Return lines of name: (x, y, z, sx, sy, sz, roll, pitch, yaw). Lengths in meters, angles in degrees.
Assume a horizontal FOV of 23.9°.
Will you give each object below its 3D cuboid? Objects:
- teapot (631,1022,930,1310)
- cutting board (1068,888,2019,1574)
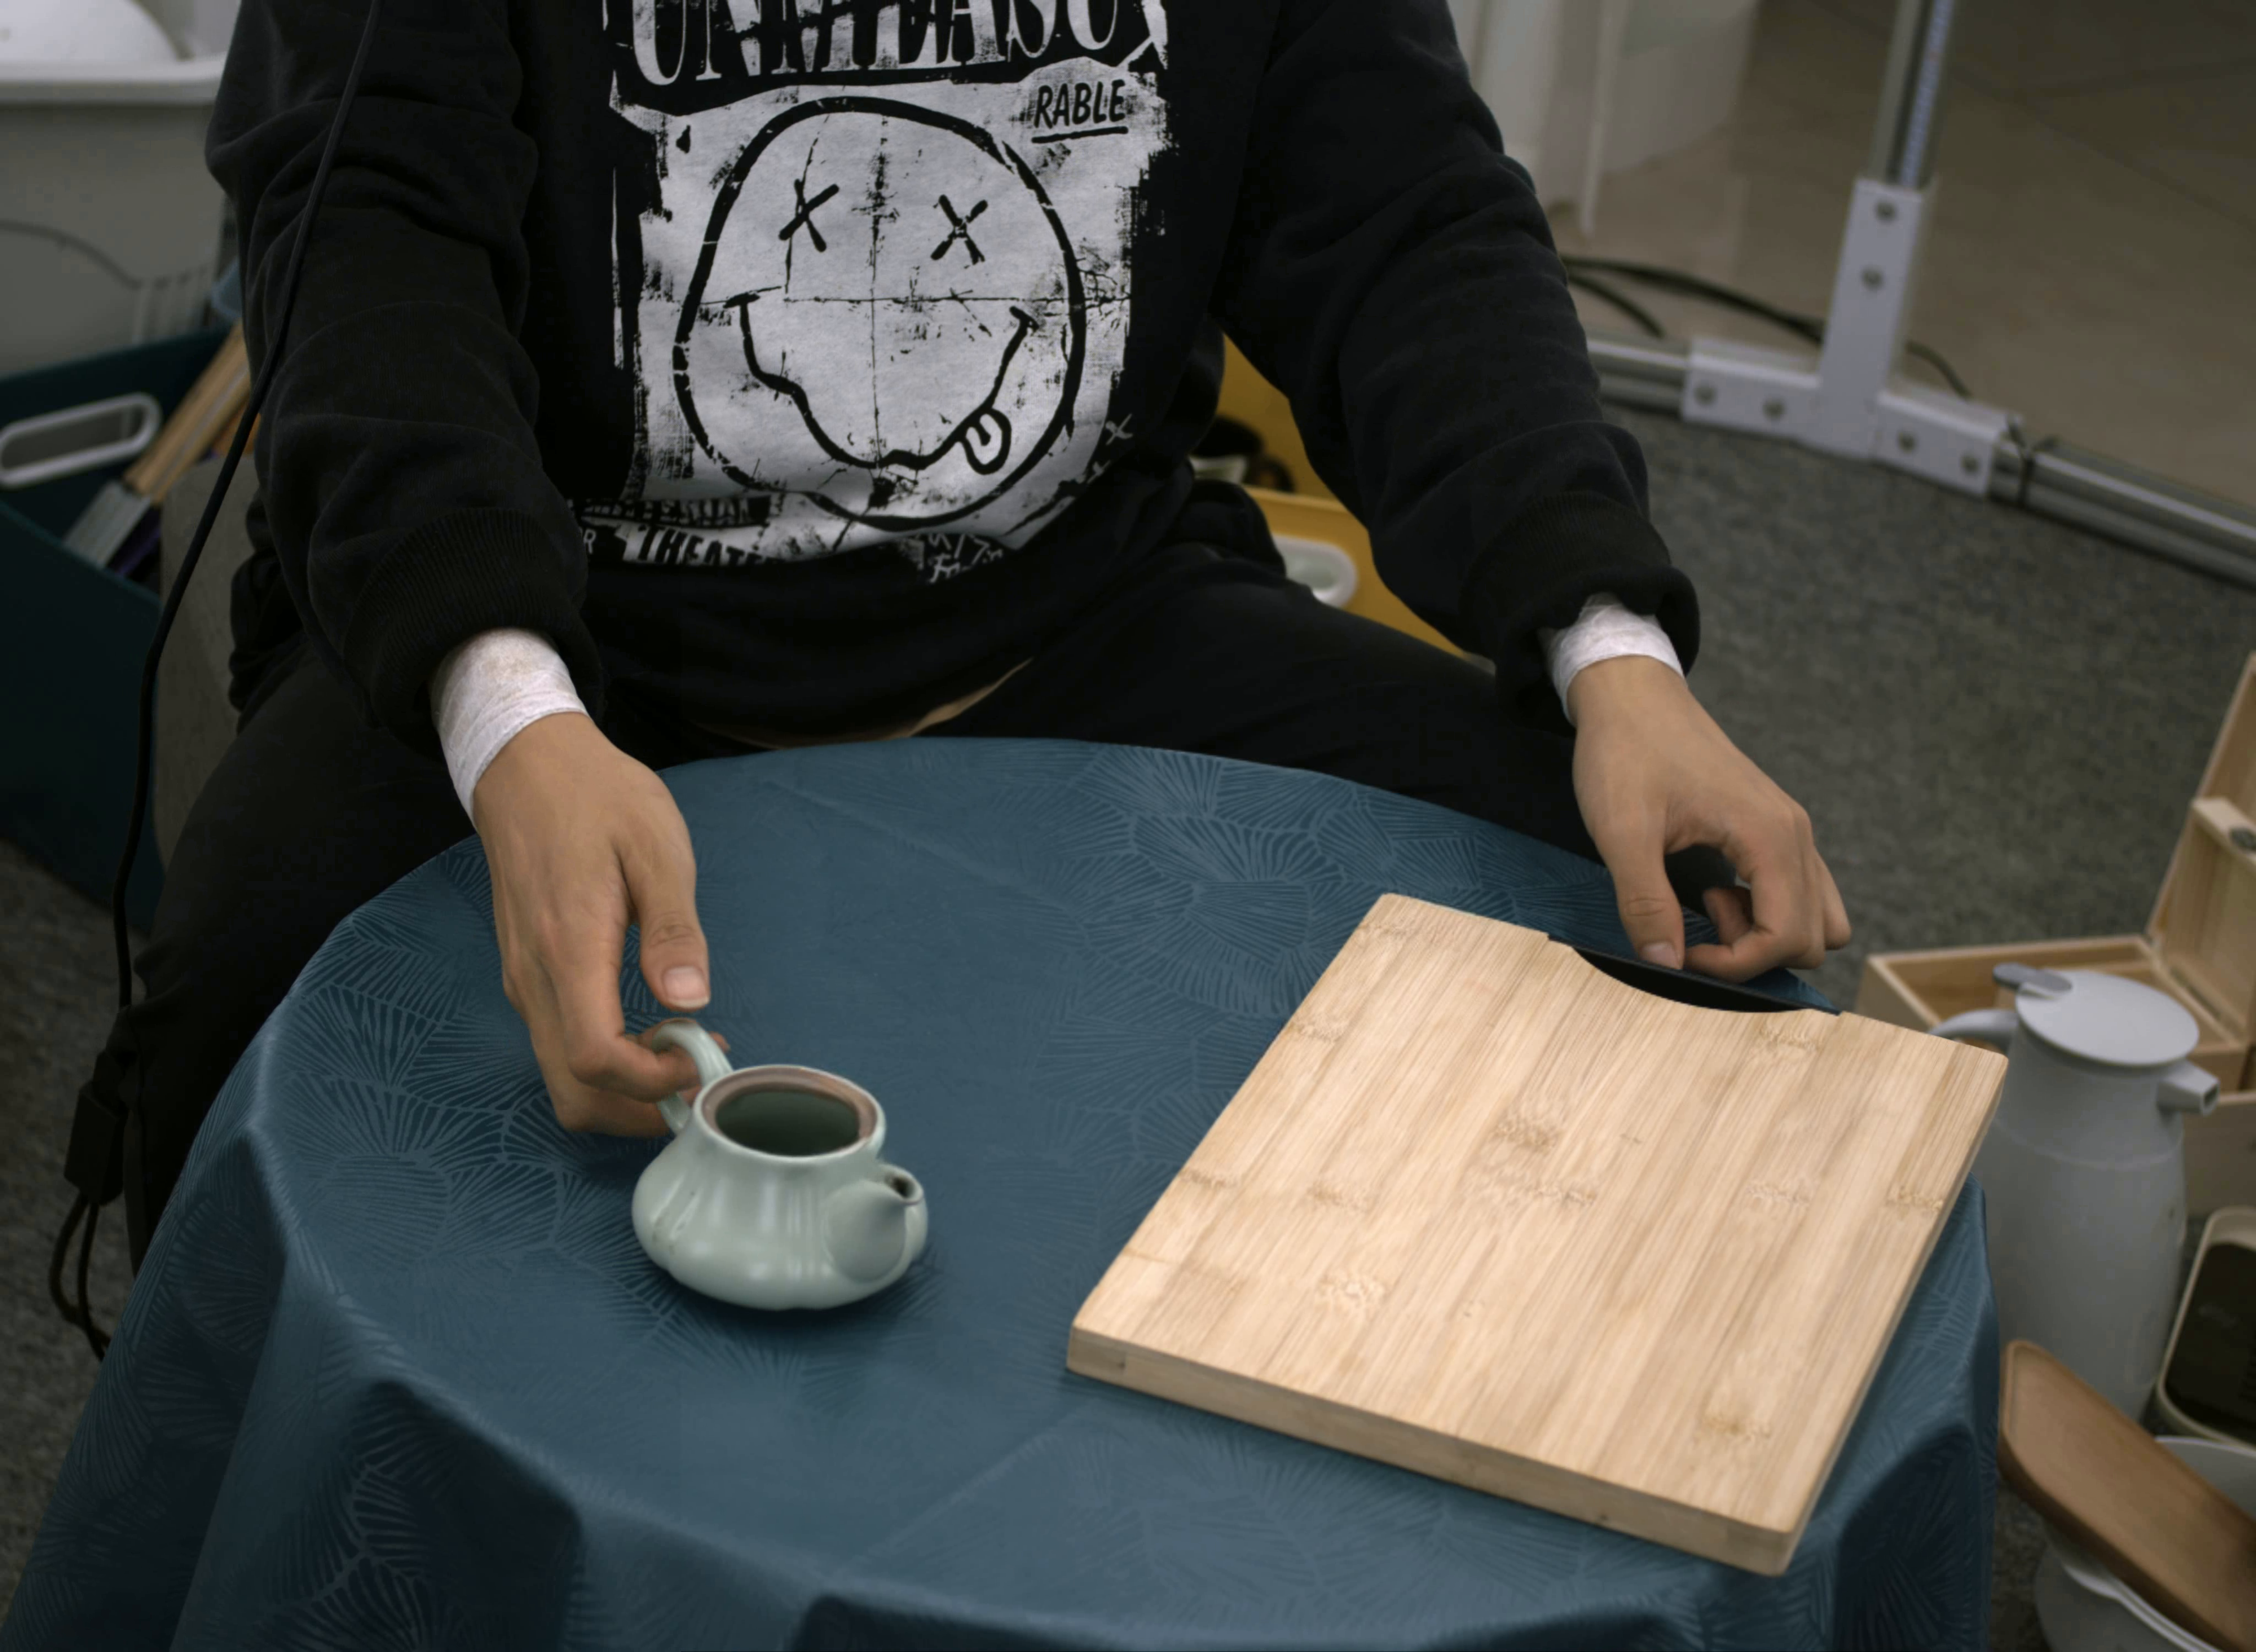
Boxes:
teapot: (-0.116, 0.113, 1.733, 0.096, 0.061, 0.138, -20, 37, -39)
cutting board: (0.151, 0.127, 1.814, 0.251, 0.023, 0.349, 14, 28, 14)
